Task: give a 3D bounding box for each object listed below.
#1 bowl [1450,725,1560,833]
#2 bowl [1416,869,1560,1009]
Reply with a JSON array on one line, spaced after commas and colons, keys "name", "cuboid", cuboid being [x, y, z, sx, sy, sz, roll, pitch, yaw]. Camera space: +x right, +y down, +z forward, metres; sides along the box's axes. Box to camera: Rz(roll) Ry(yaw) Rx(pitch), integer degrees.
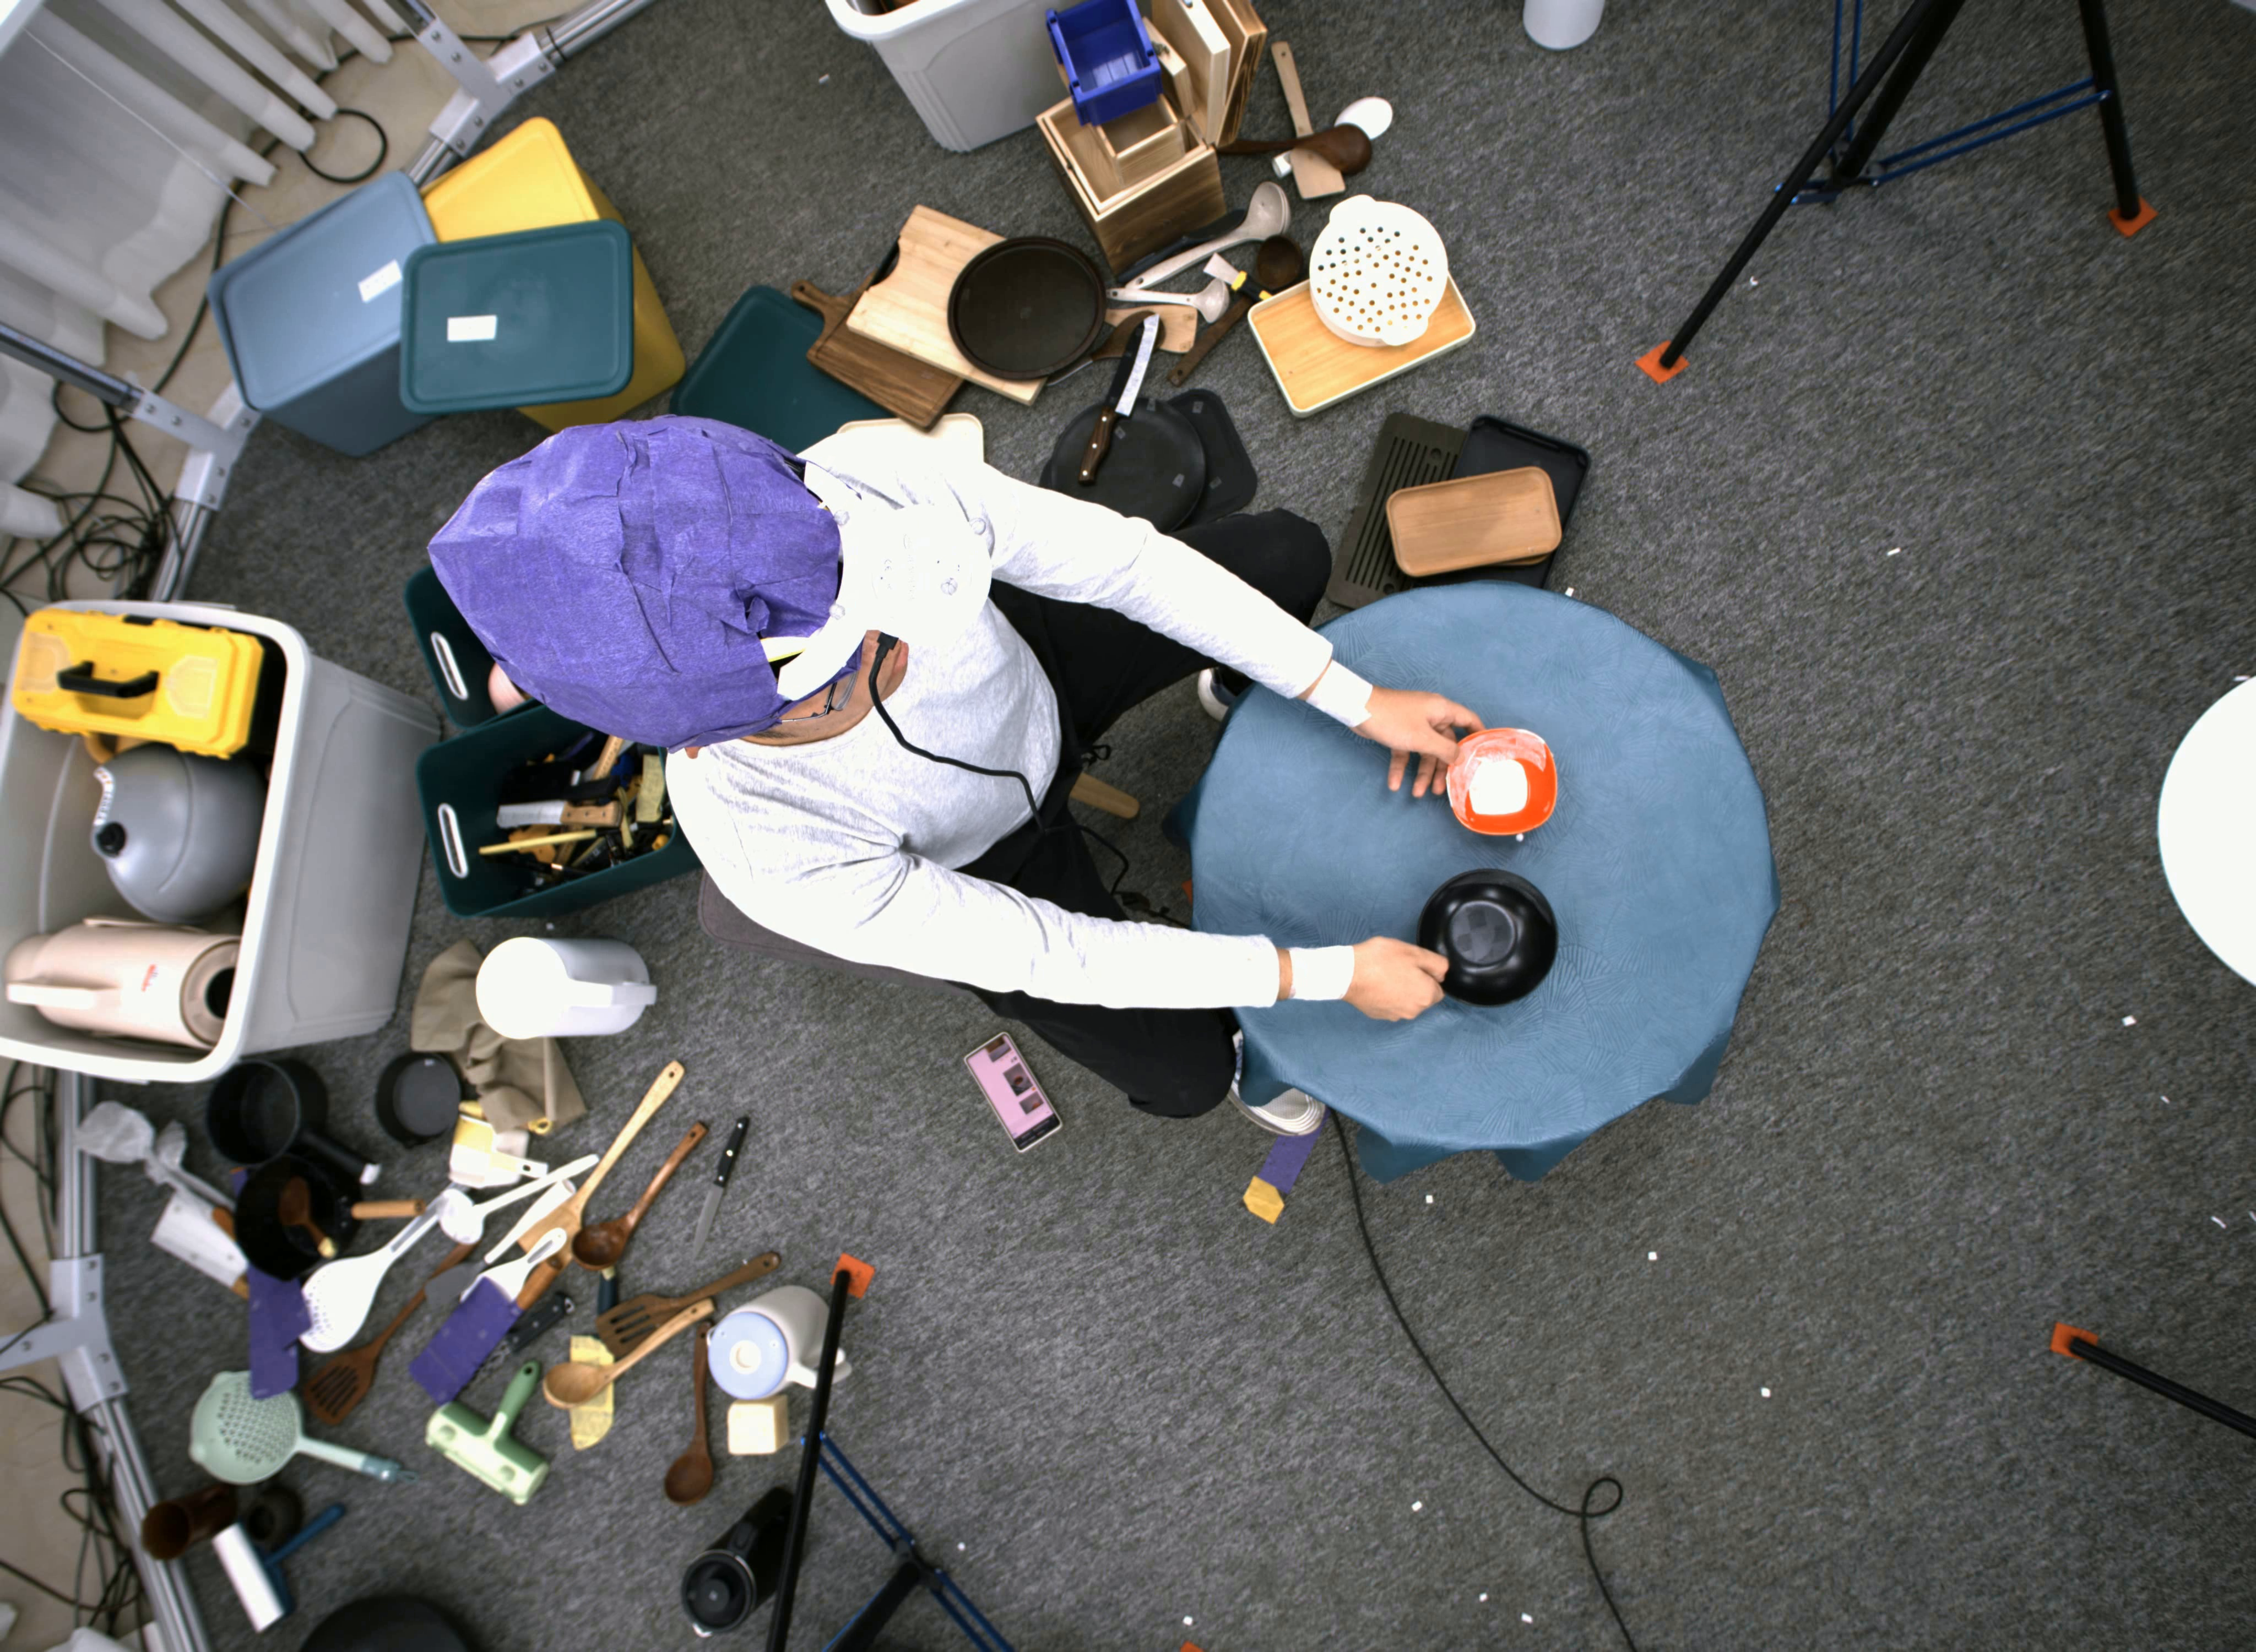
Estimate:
[{"name": "bowl", "cuboid": [0.385, -0.048, 1.416, 0.119, 0.051, 0.118, 0, 87, 7]}, {"name": "bowl", "cuboid": [0.360, 0.110, 1.387, 0.140, 0.049, 0.140, 0, 93, 11]}]
